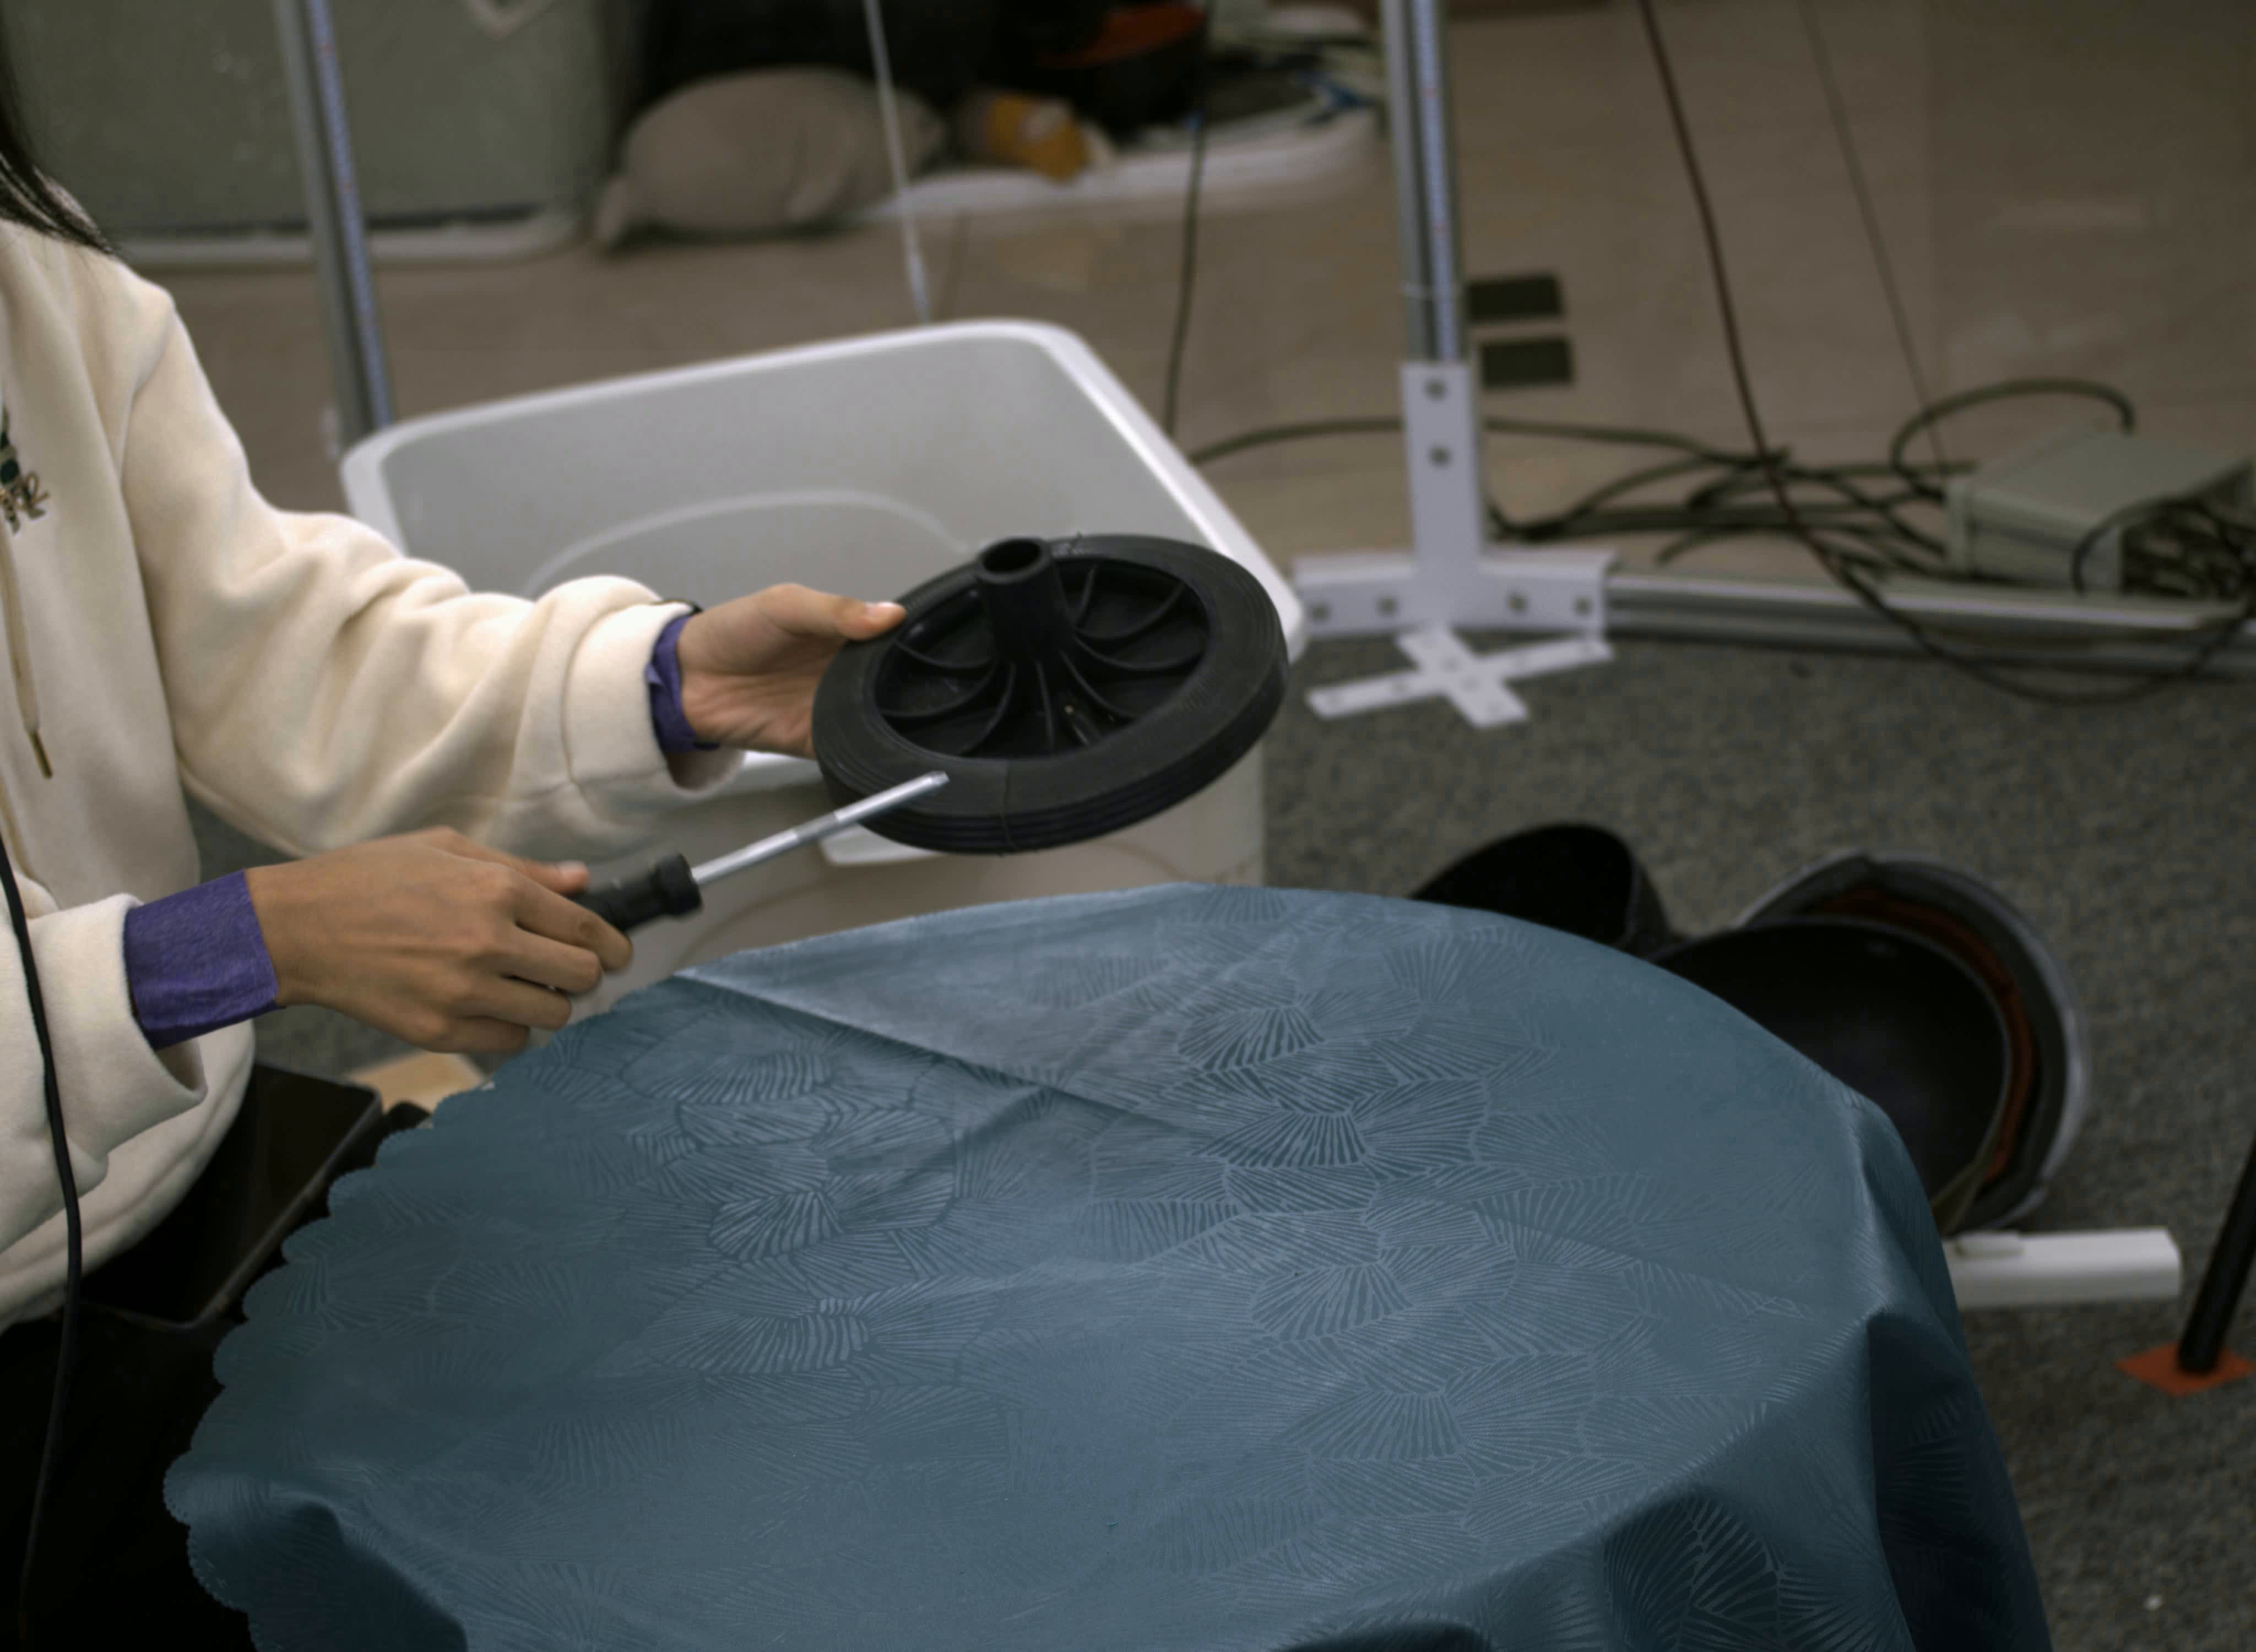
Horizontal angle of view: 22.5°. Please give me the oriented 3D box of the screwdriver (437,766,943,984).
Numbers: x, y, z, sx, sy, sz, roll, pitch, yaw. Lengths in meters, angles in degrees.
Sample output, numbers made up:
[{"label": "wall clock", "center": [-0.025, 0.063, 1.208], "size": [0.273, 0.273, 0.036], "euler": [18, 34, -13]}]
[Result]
[{"label": "screwdriver", "center": [-0.160, 0.011, 2.063], "size": [0.196, 0.032, 0.031], "euler": [-24, 26, 2]}]

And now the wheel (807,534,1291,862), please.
[{"label": "wheel", "center": [-0.035, -0.068, 2.178], "size": [0.188, 0.080, 0.185], "euler": [24, 52, 39]}]
